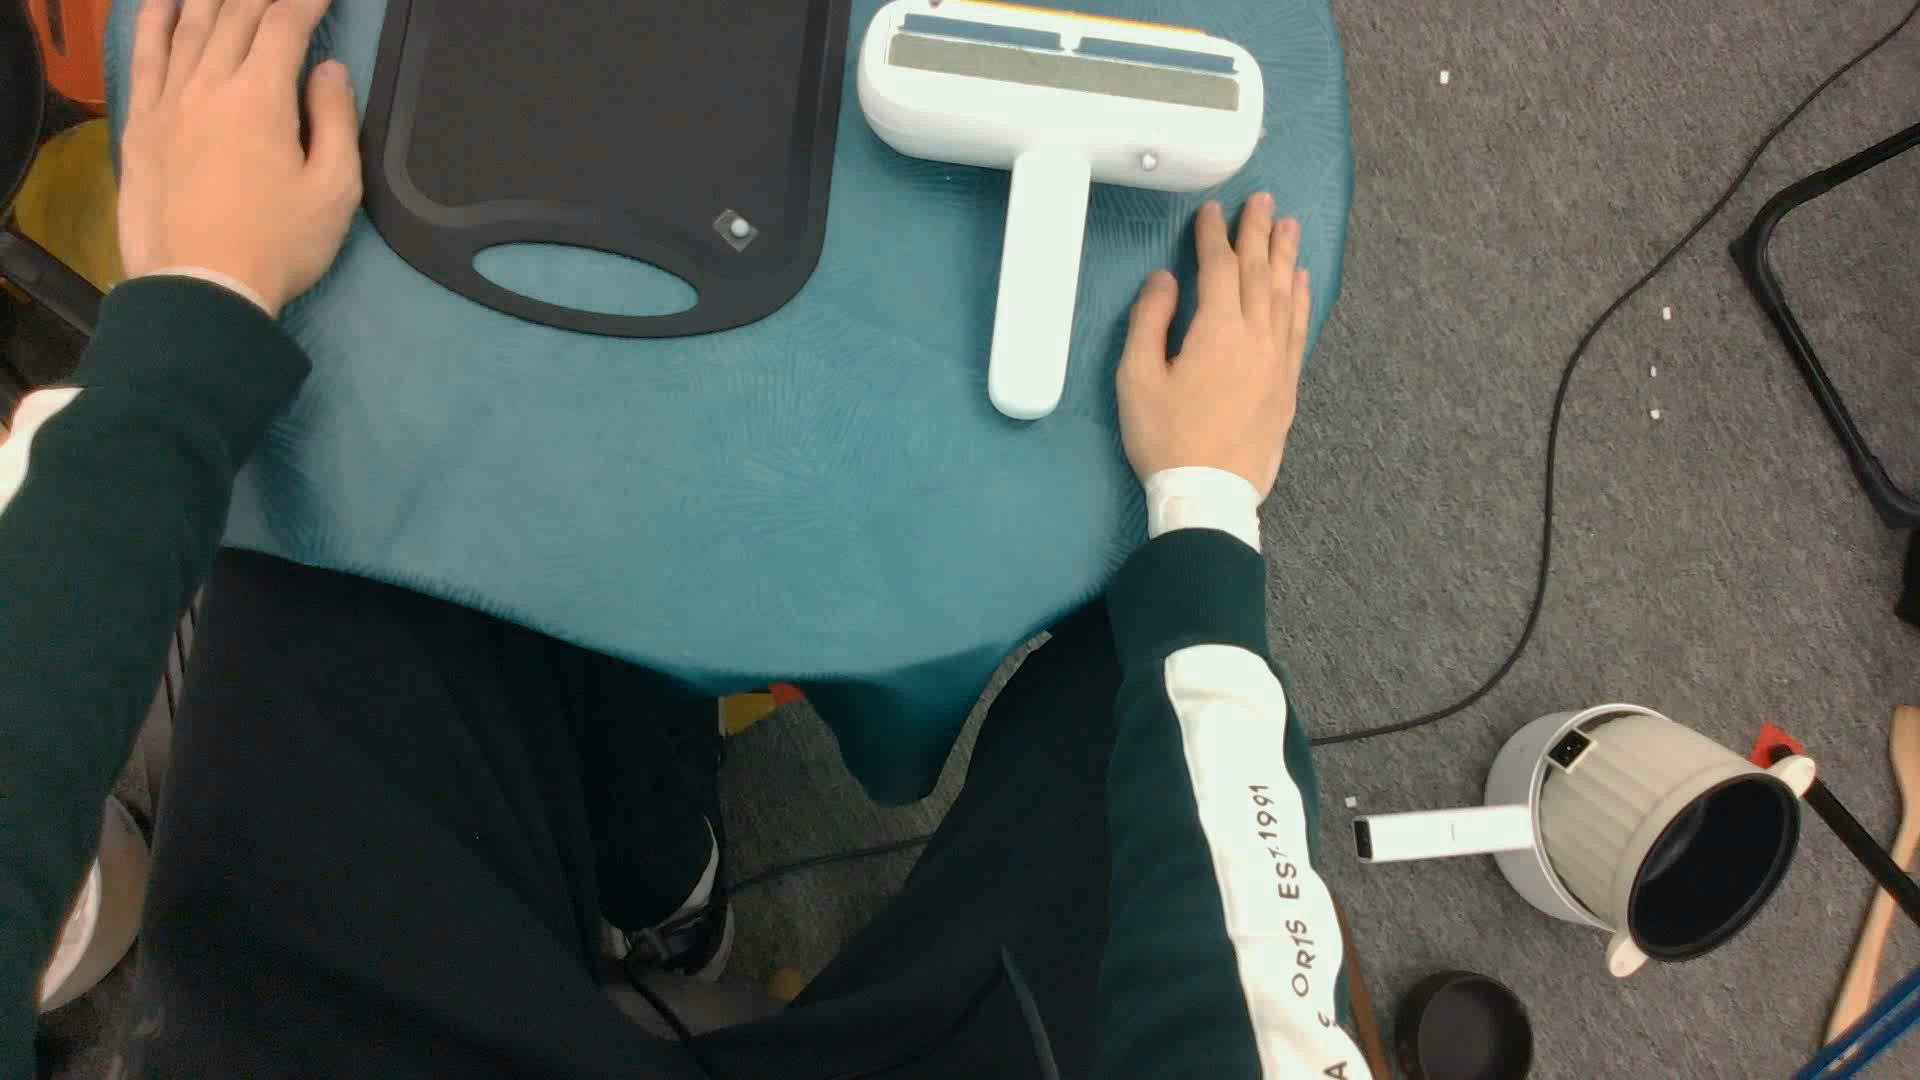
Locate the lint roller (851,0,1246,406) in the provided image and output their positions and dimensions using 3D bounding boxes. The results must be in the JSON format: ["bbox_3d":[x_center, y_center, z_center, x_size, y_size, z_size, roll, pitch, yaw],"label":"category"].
[{"bbox_3d":[0.030,-0.161,0.680,0.193,0.074,0.192,12,92,-5],"label":"lint roller"}]

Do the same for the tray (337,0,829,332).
[{"bbox_3d":[-0.169,-0.256,0.658,0.211,0.010,0.326,7,79,-13],"label":"tray"}]
